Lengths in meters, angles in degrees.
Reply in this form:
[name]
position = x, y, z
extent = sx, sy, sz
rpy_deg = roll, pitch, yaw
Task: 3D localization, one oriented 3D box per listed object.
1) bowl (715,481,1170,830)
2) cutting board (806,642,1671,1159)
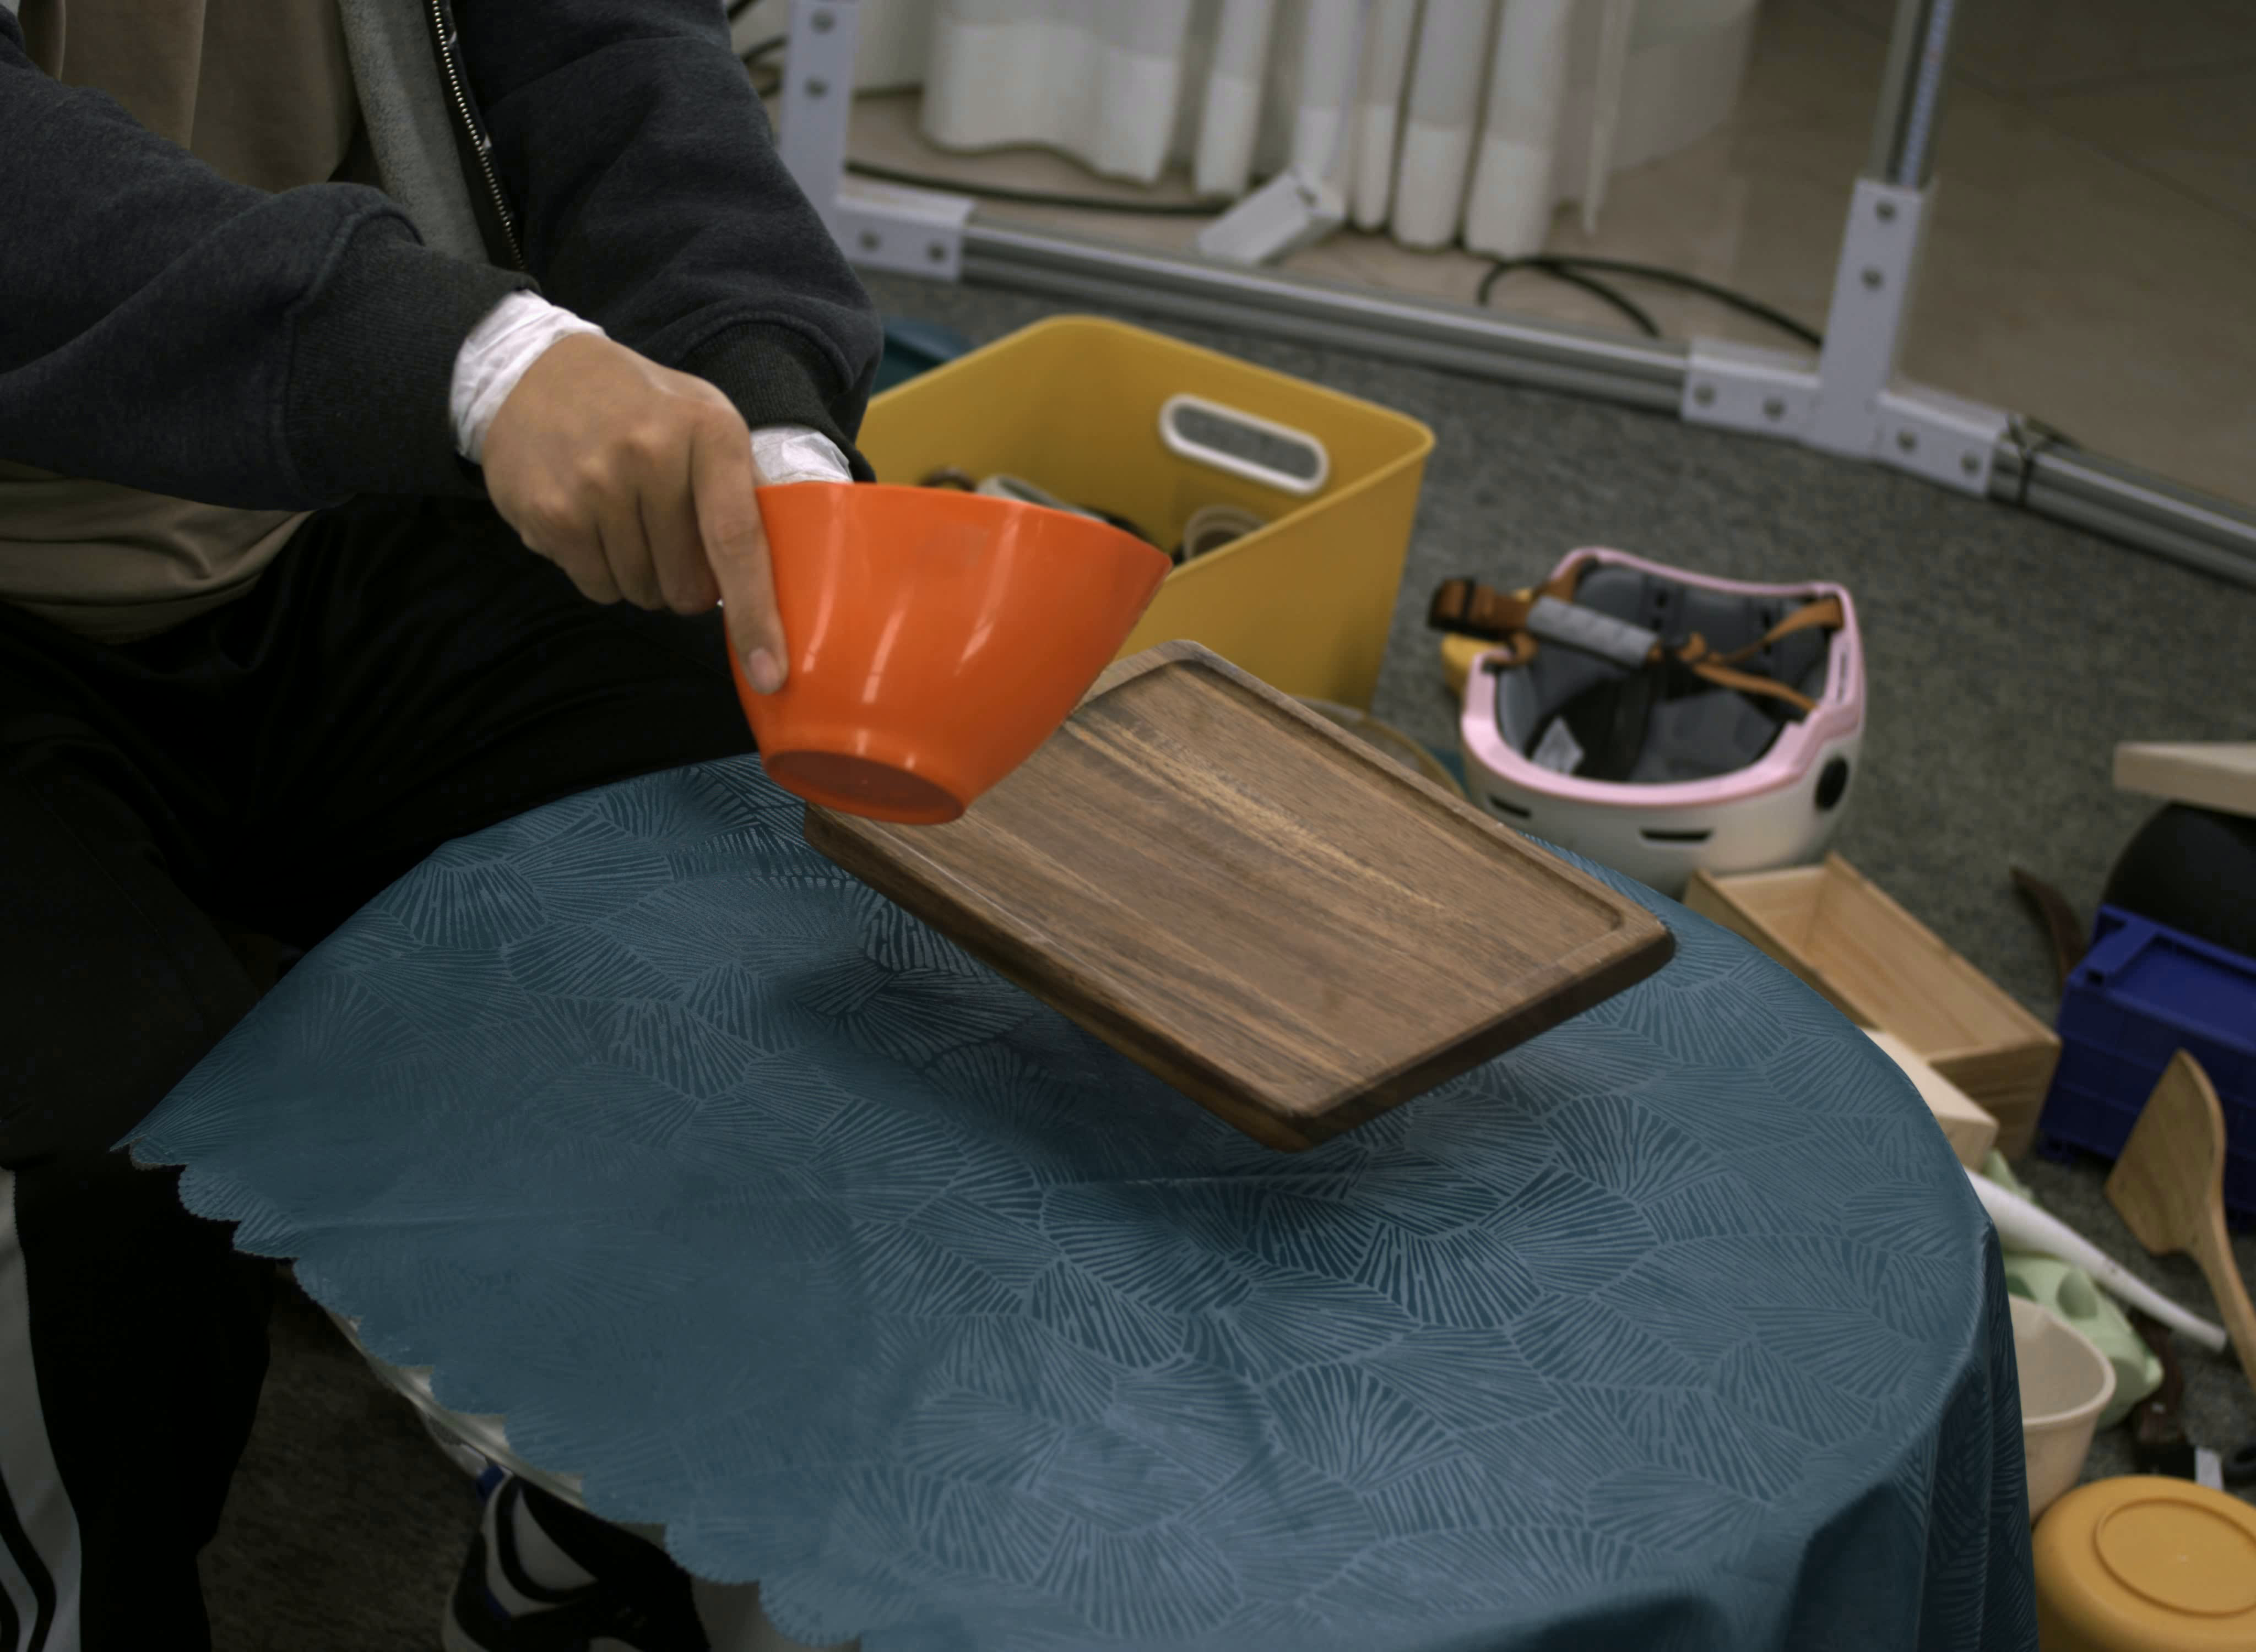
[bowl]
position = -0.069, -0.054, 1.716
extent = 0.148, 0.105, 0.147
rpy_deg = 12, -16, 3
[cutting board]
position = 0.004, -0.001, 1.914
extent = 0.200, 0.023, 0.355
rpy_deg = -24, 42, -38
